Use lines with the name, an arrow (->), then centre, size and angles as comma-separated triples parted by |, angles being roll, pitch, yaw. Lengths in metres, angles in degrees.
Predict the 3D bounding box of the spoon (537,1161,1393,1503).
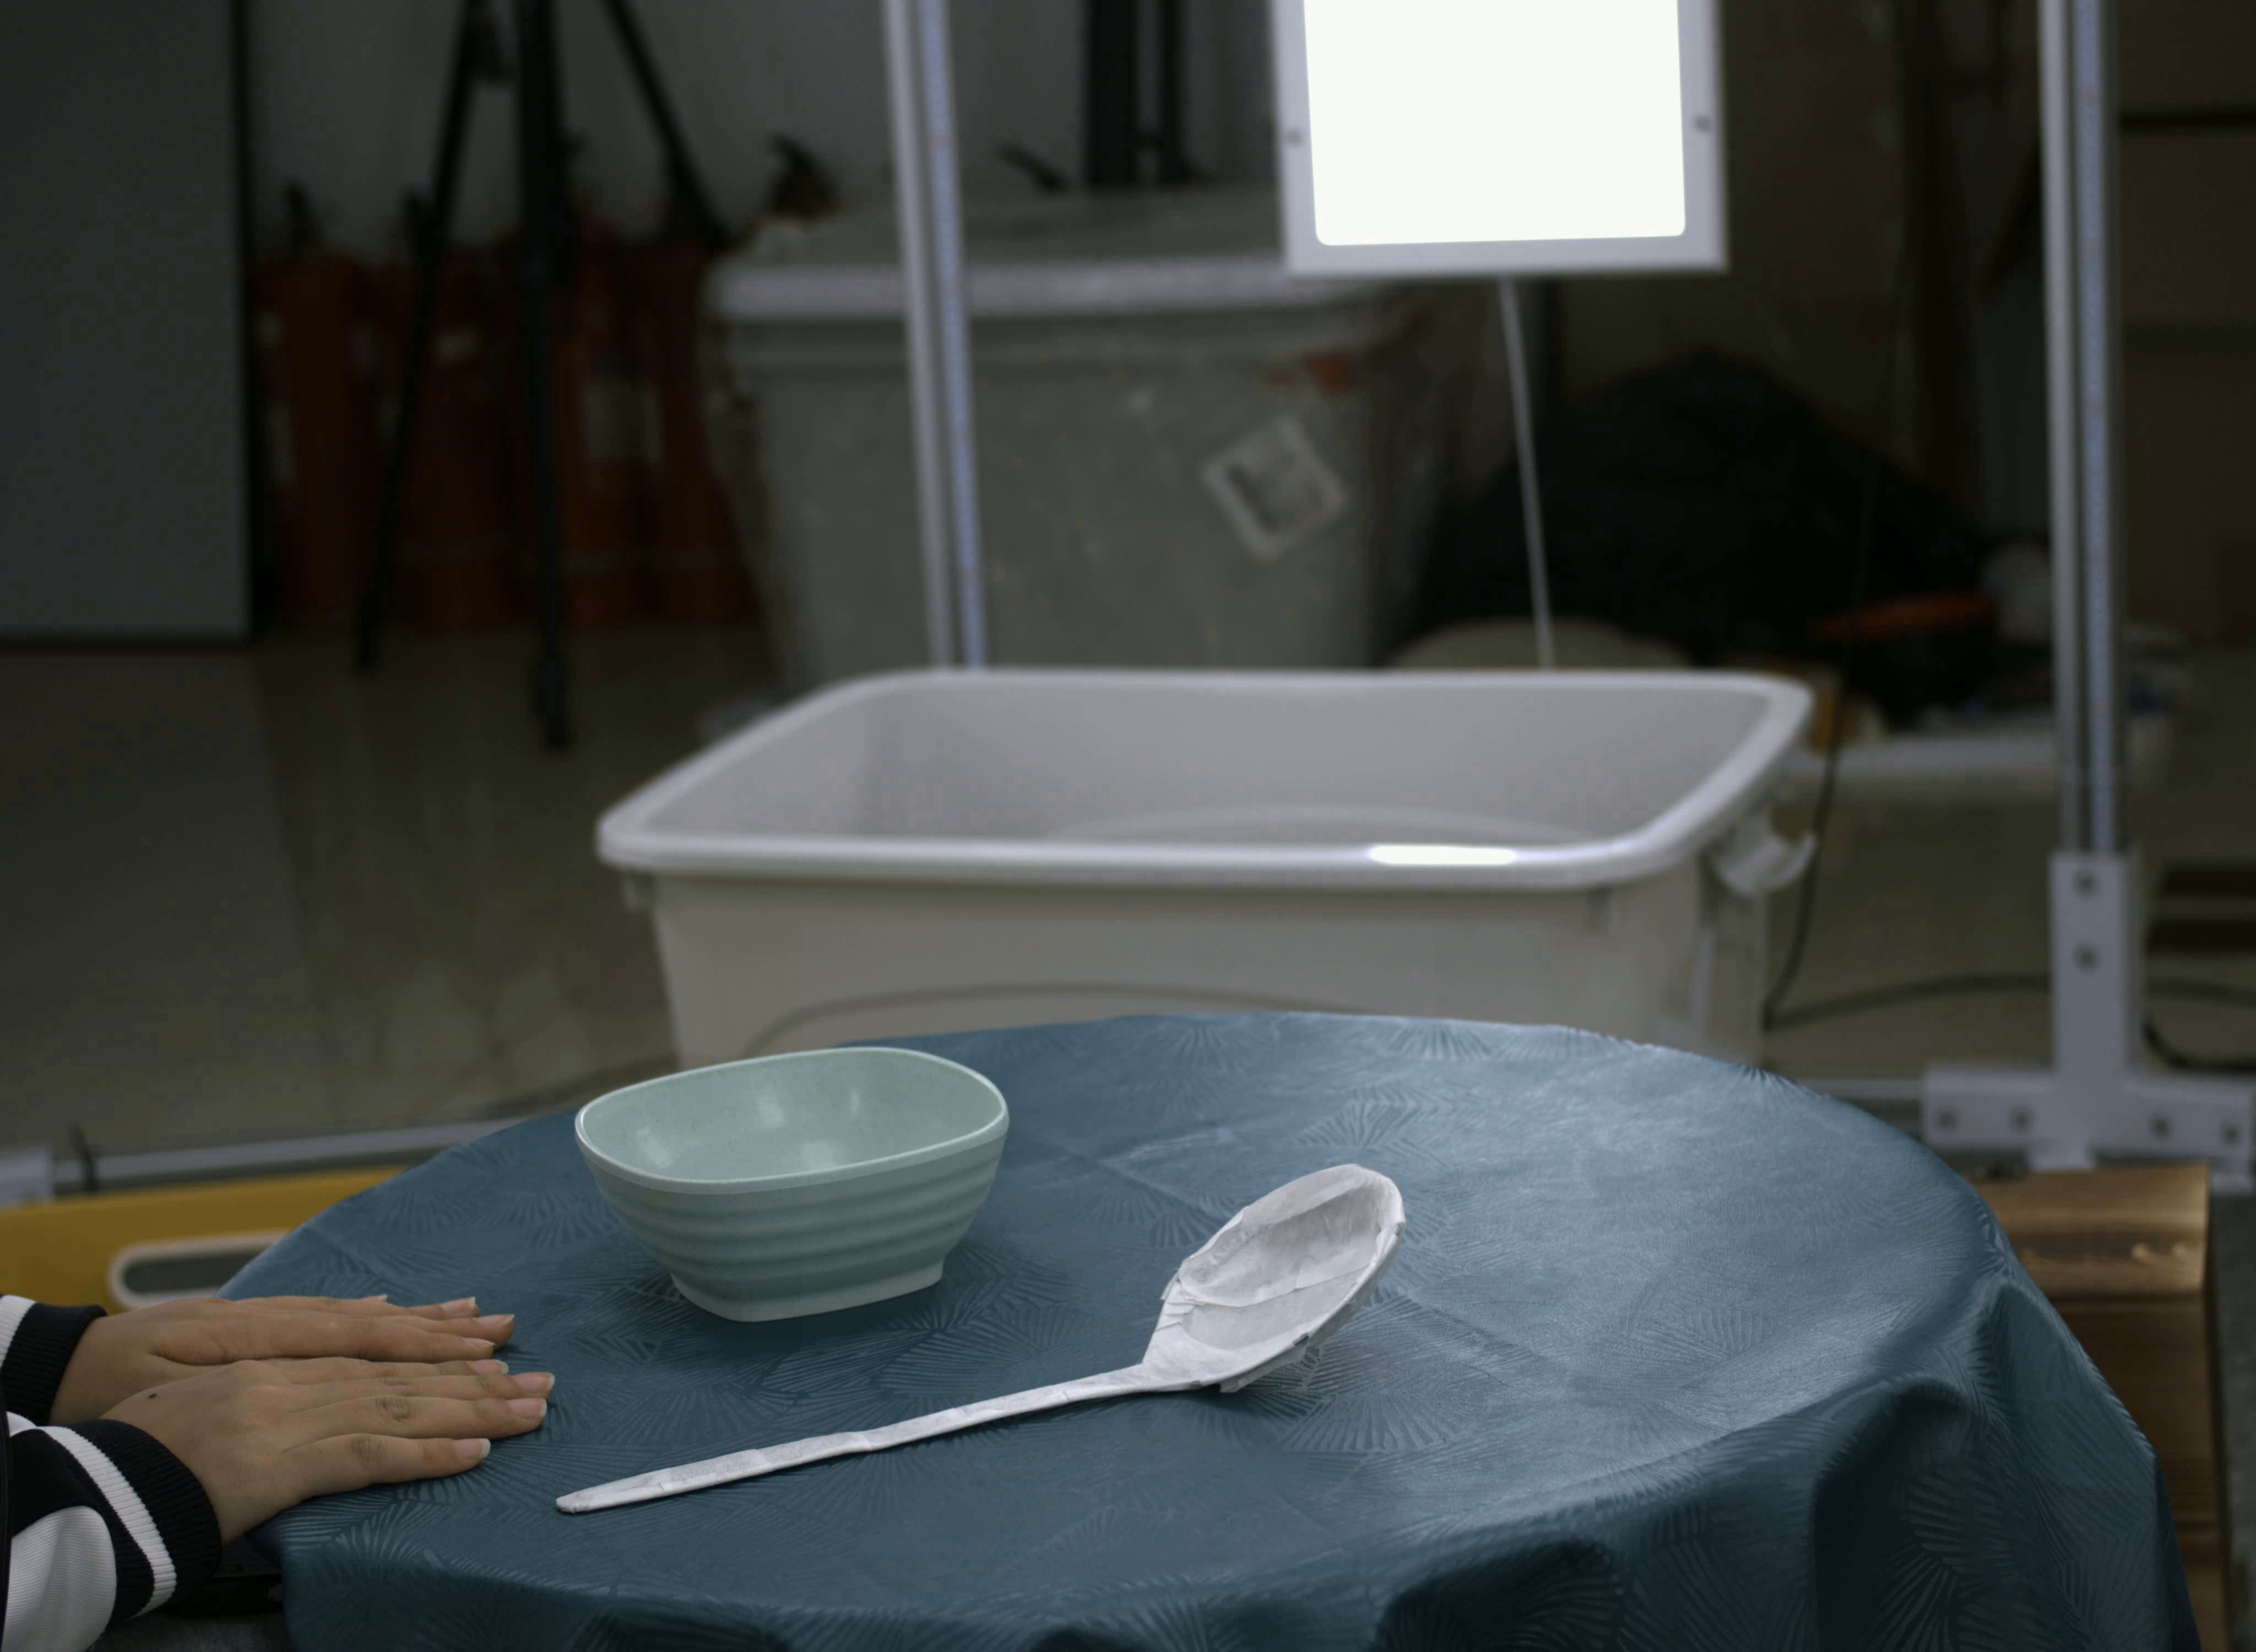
spoon -> -0.050, 0.153, 1.688 | 0.273, 0.059, 0.102 | -9, 9, -14

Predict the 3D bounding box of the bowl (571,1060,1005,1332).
bowl -> -0.111, 0.126, 1.834 | 0.151, 0.059, 0.151 | -5, 13, 0
